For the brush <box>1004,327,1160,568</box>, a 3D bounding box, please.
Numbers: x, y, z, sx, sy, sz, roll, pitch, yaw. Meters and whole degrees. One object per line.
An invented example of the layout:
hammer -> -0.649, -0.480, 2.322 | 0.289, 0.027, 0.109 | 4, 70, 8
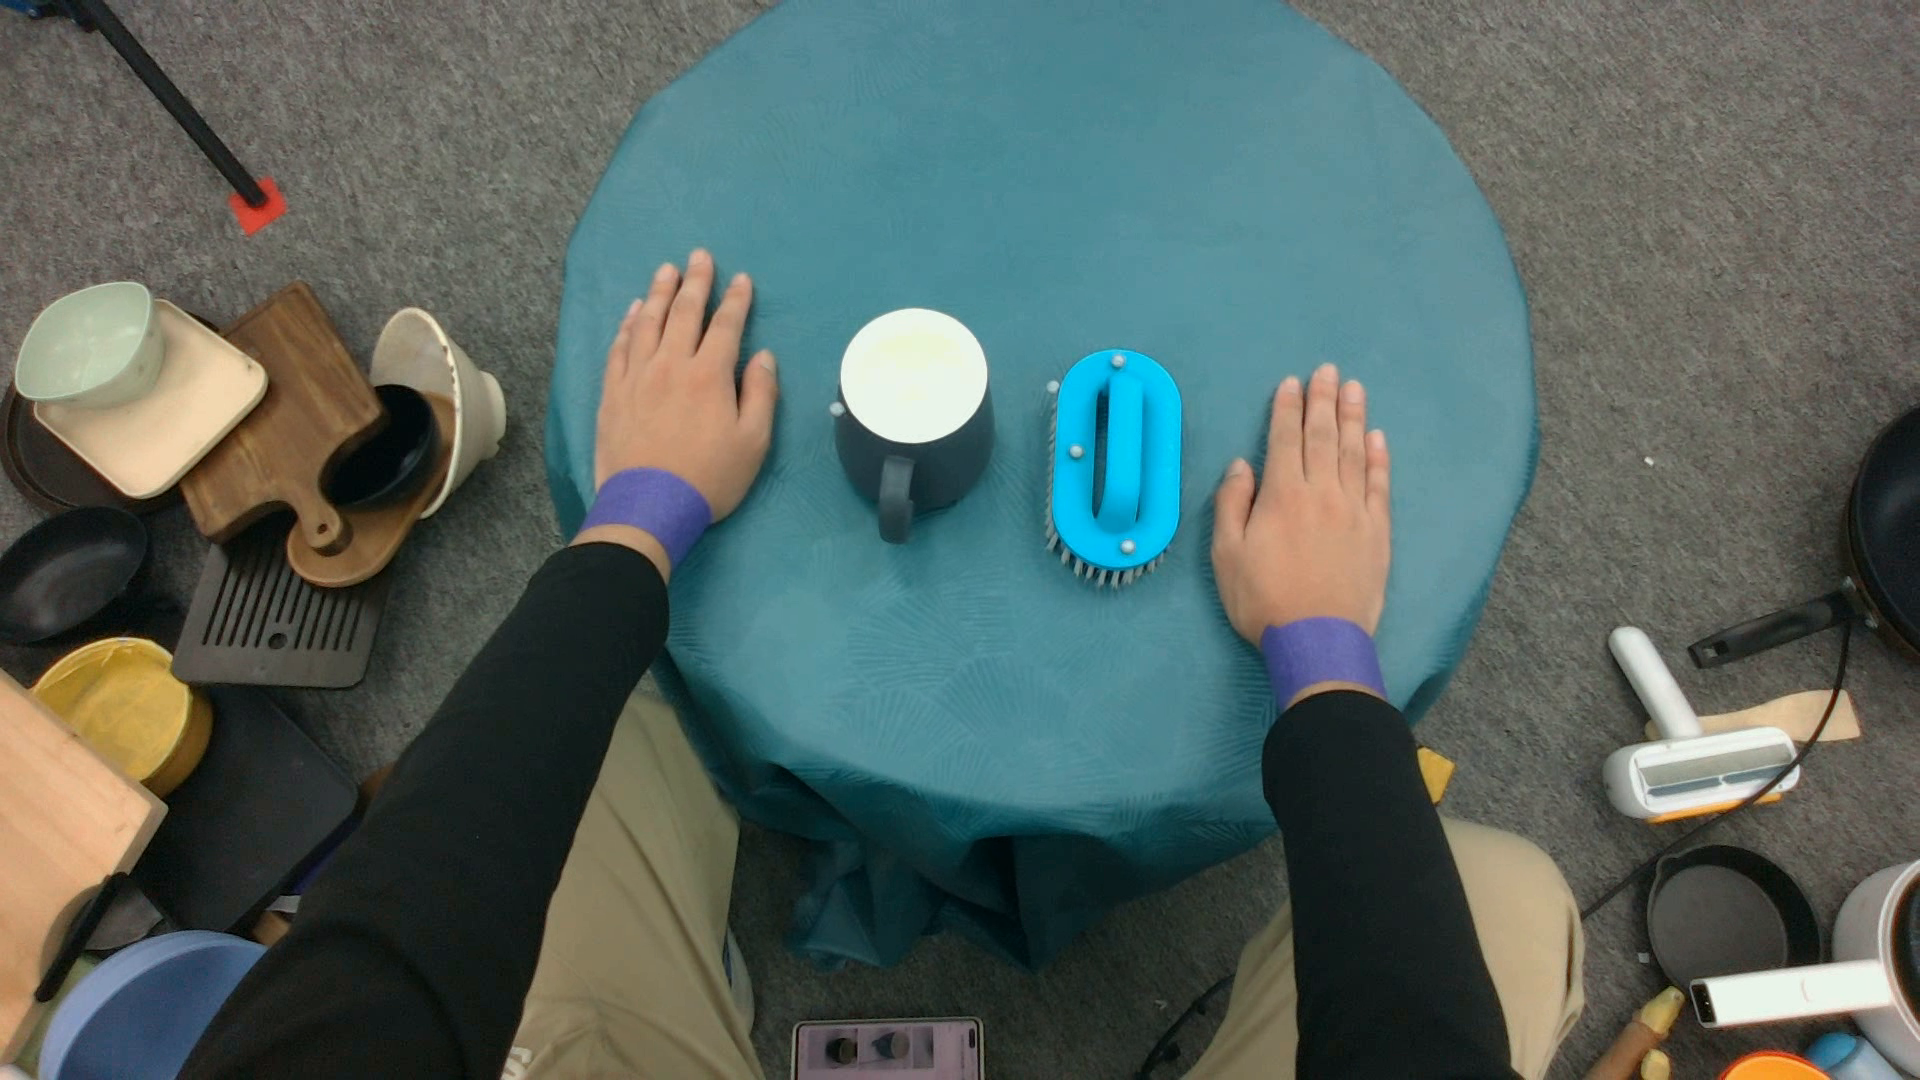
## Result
brush -> 0.072, -0.059, 0.782 | 0.084, 0.063, 0.142 | 7, 70, -5

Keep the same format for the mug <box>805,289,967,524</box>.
mug -> -0.044, -0.069, 0.764 | 0.093, 0.089, 0.123 | 10, 67, 2
